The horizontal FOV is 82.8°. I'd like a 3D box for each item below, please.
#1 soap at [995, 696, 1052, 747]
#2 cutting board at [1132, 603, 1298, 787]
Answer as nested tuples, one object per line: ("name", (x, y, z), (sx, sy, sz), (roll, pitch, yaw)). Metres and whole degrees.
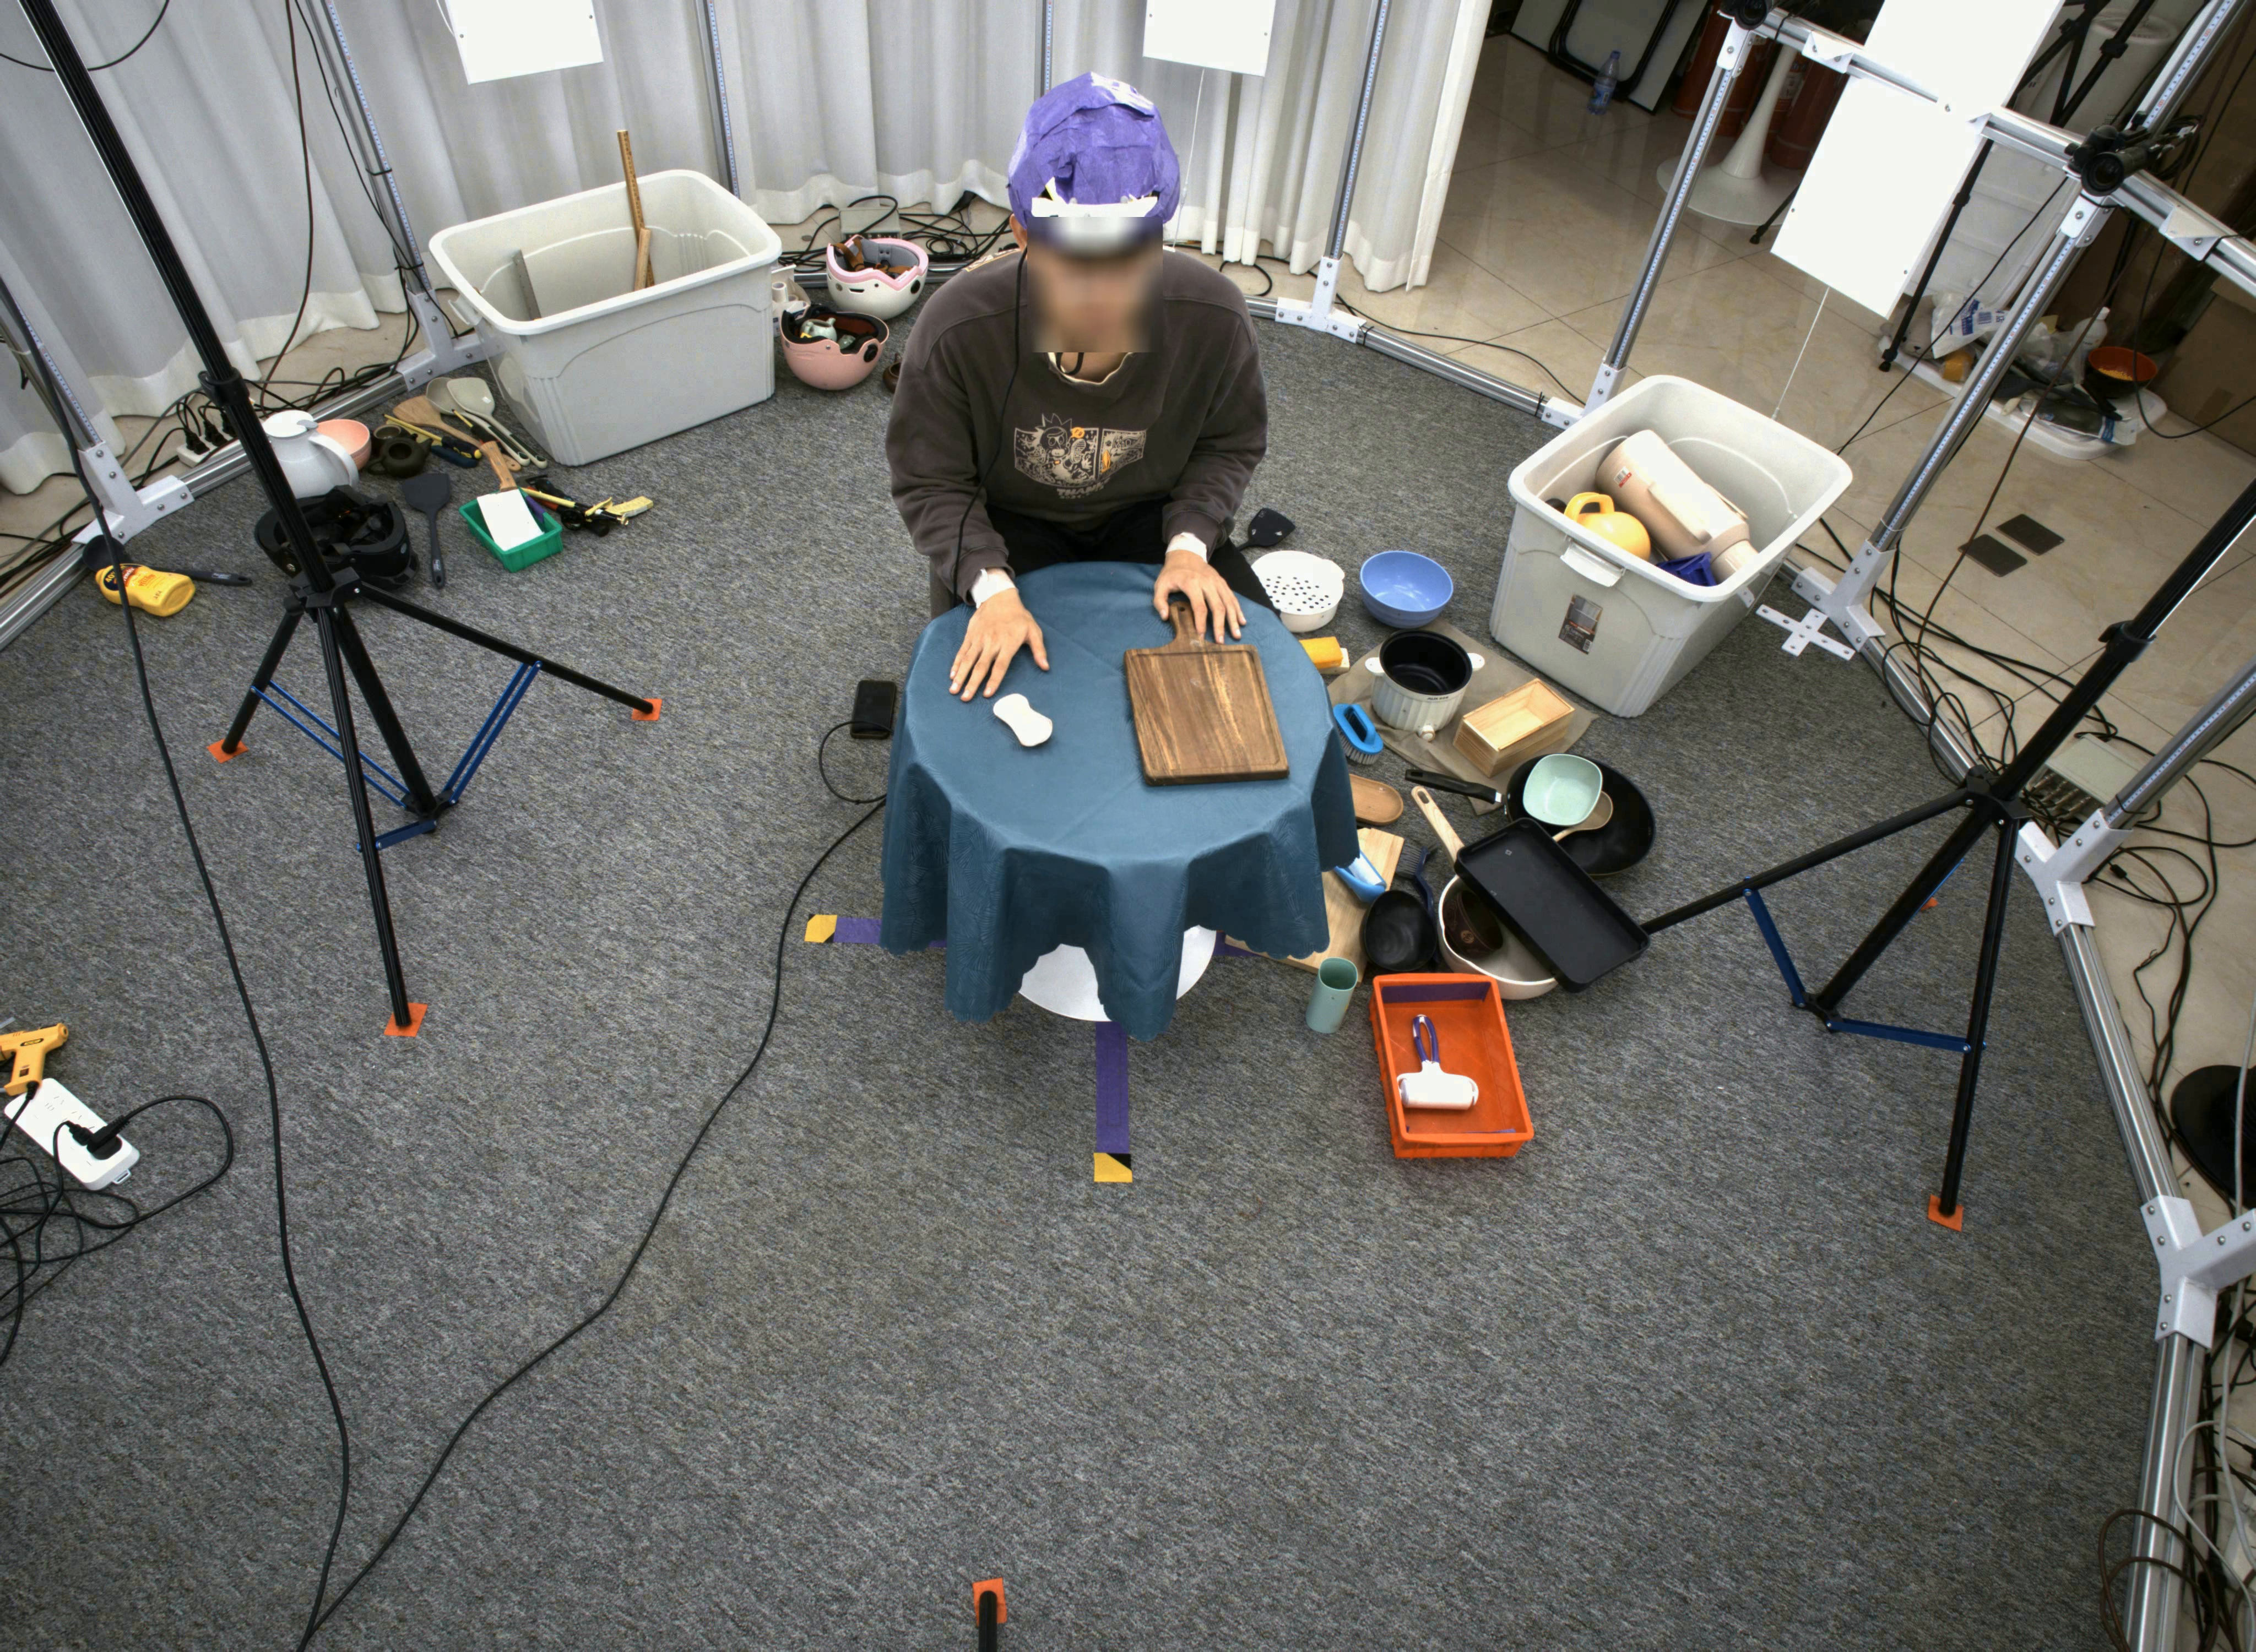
("soap", (-0.144, -0.144, 1.765), (0.050, 0.029, 0.096), (-24, 53, -23))
("cutting board", (0.112, -0.197, 1.830), (0.201, 0.022, 0.361), (-3, 49, -6))
